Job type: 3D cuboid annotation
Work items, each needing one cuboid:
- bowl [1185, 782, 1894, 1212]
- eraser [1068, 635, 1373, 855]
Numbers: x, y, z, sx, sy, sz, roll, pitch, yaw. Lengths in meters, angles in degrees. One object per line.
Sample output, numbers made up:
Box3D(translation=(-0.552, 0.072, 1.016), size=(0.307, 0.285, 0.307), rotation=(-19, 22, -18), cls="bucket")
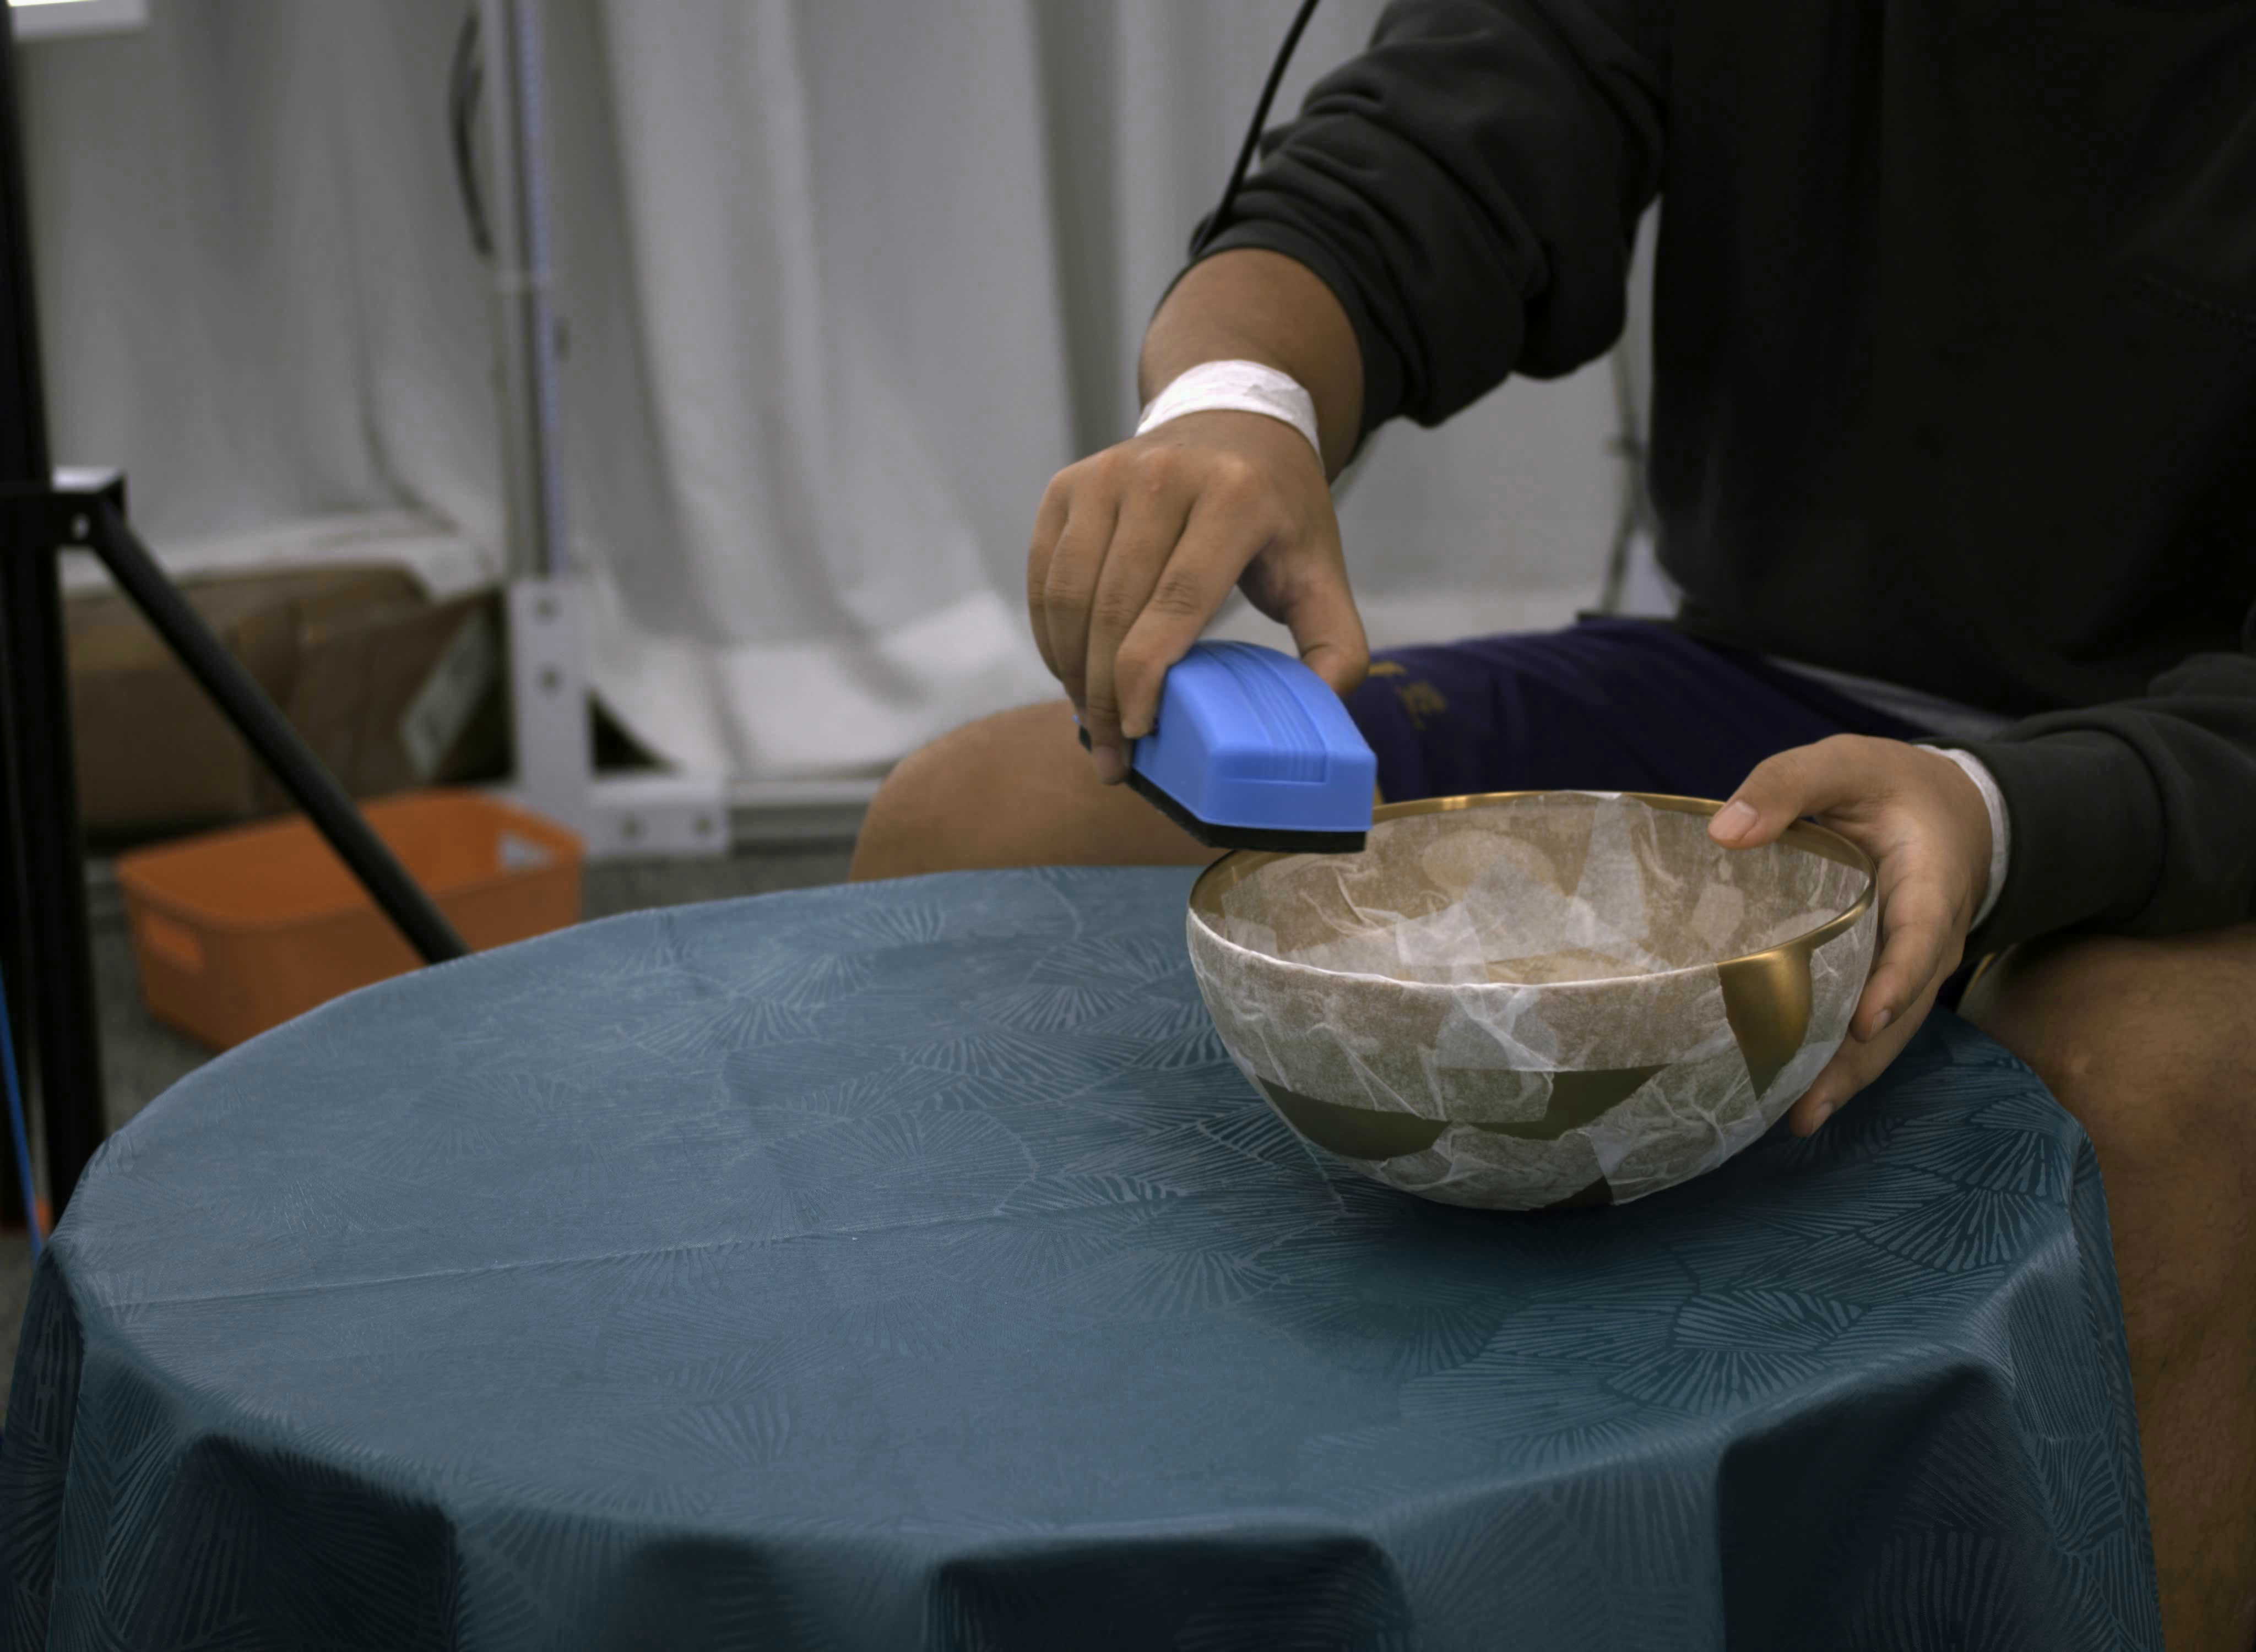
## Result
Box3D(translation=(0.122, 0.058, 1.546), size=(0.213, 0.094, 0.216), rotation=(-4, 15, 0), cls="bowl")
Box3D(translation=(0.027, -0.031, 1.632), size=(0.053, 0.047, 0.164), rotation=(-1, 13, -16), cls="eraser")
